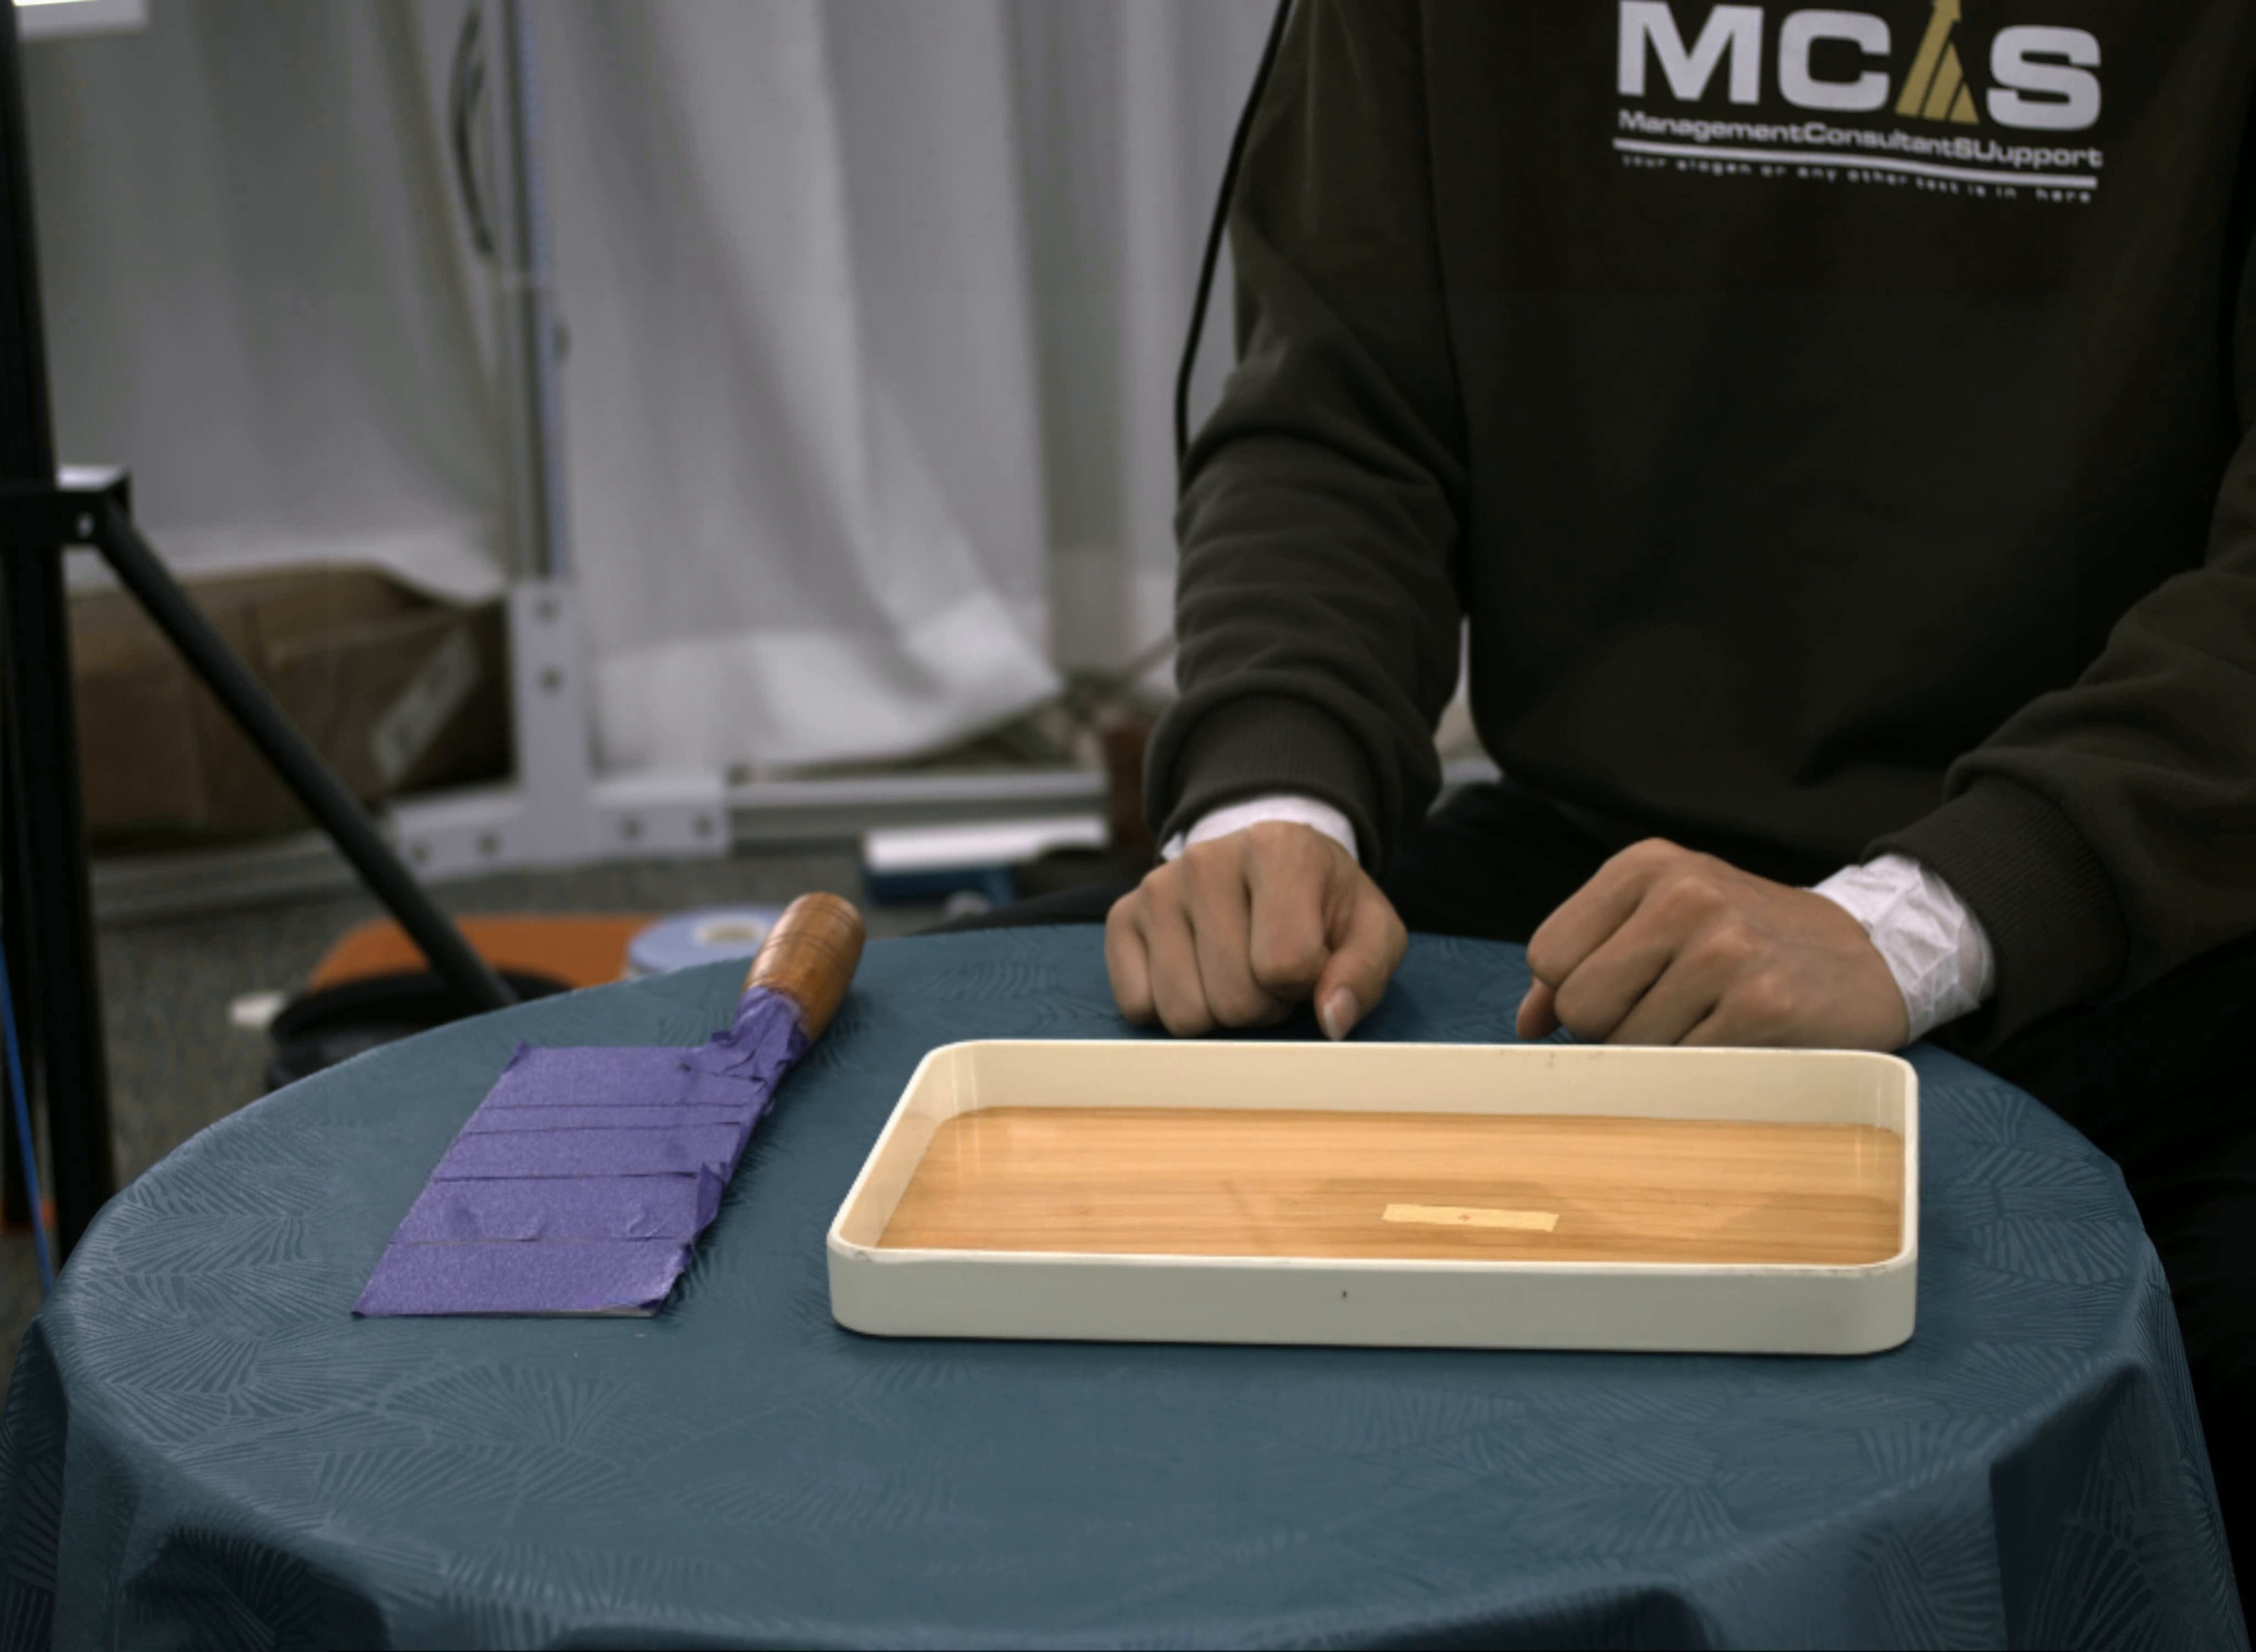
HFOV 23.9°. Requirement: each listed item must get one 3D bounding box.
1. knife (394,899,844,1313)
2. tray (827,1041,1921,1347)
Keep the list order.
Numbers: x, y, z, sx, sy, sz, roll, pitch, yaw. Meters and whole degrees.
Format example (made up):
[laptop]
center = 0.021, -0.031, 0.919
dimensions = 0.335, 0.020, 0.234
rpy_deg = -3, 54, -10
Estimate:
[knife]
center = -0.153, 0.082, 1.627
dimensions = 0.104, 0.032, 0.315
rpy_deg = 0, 16, 7
[tray]
center = 0.075, 0.104, 1.515
dimensions = 0.301, 0.027, 0.191
rpy_deg = 0, 15, 10
